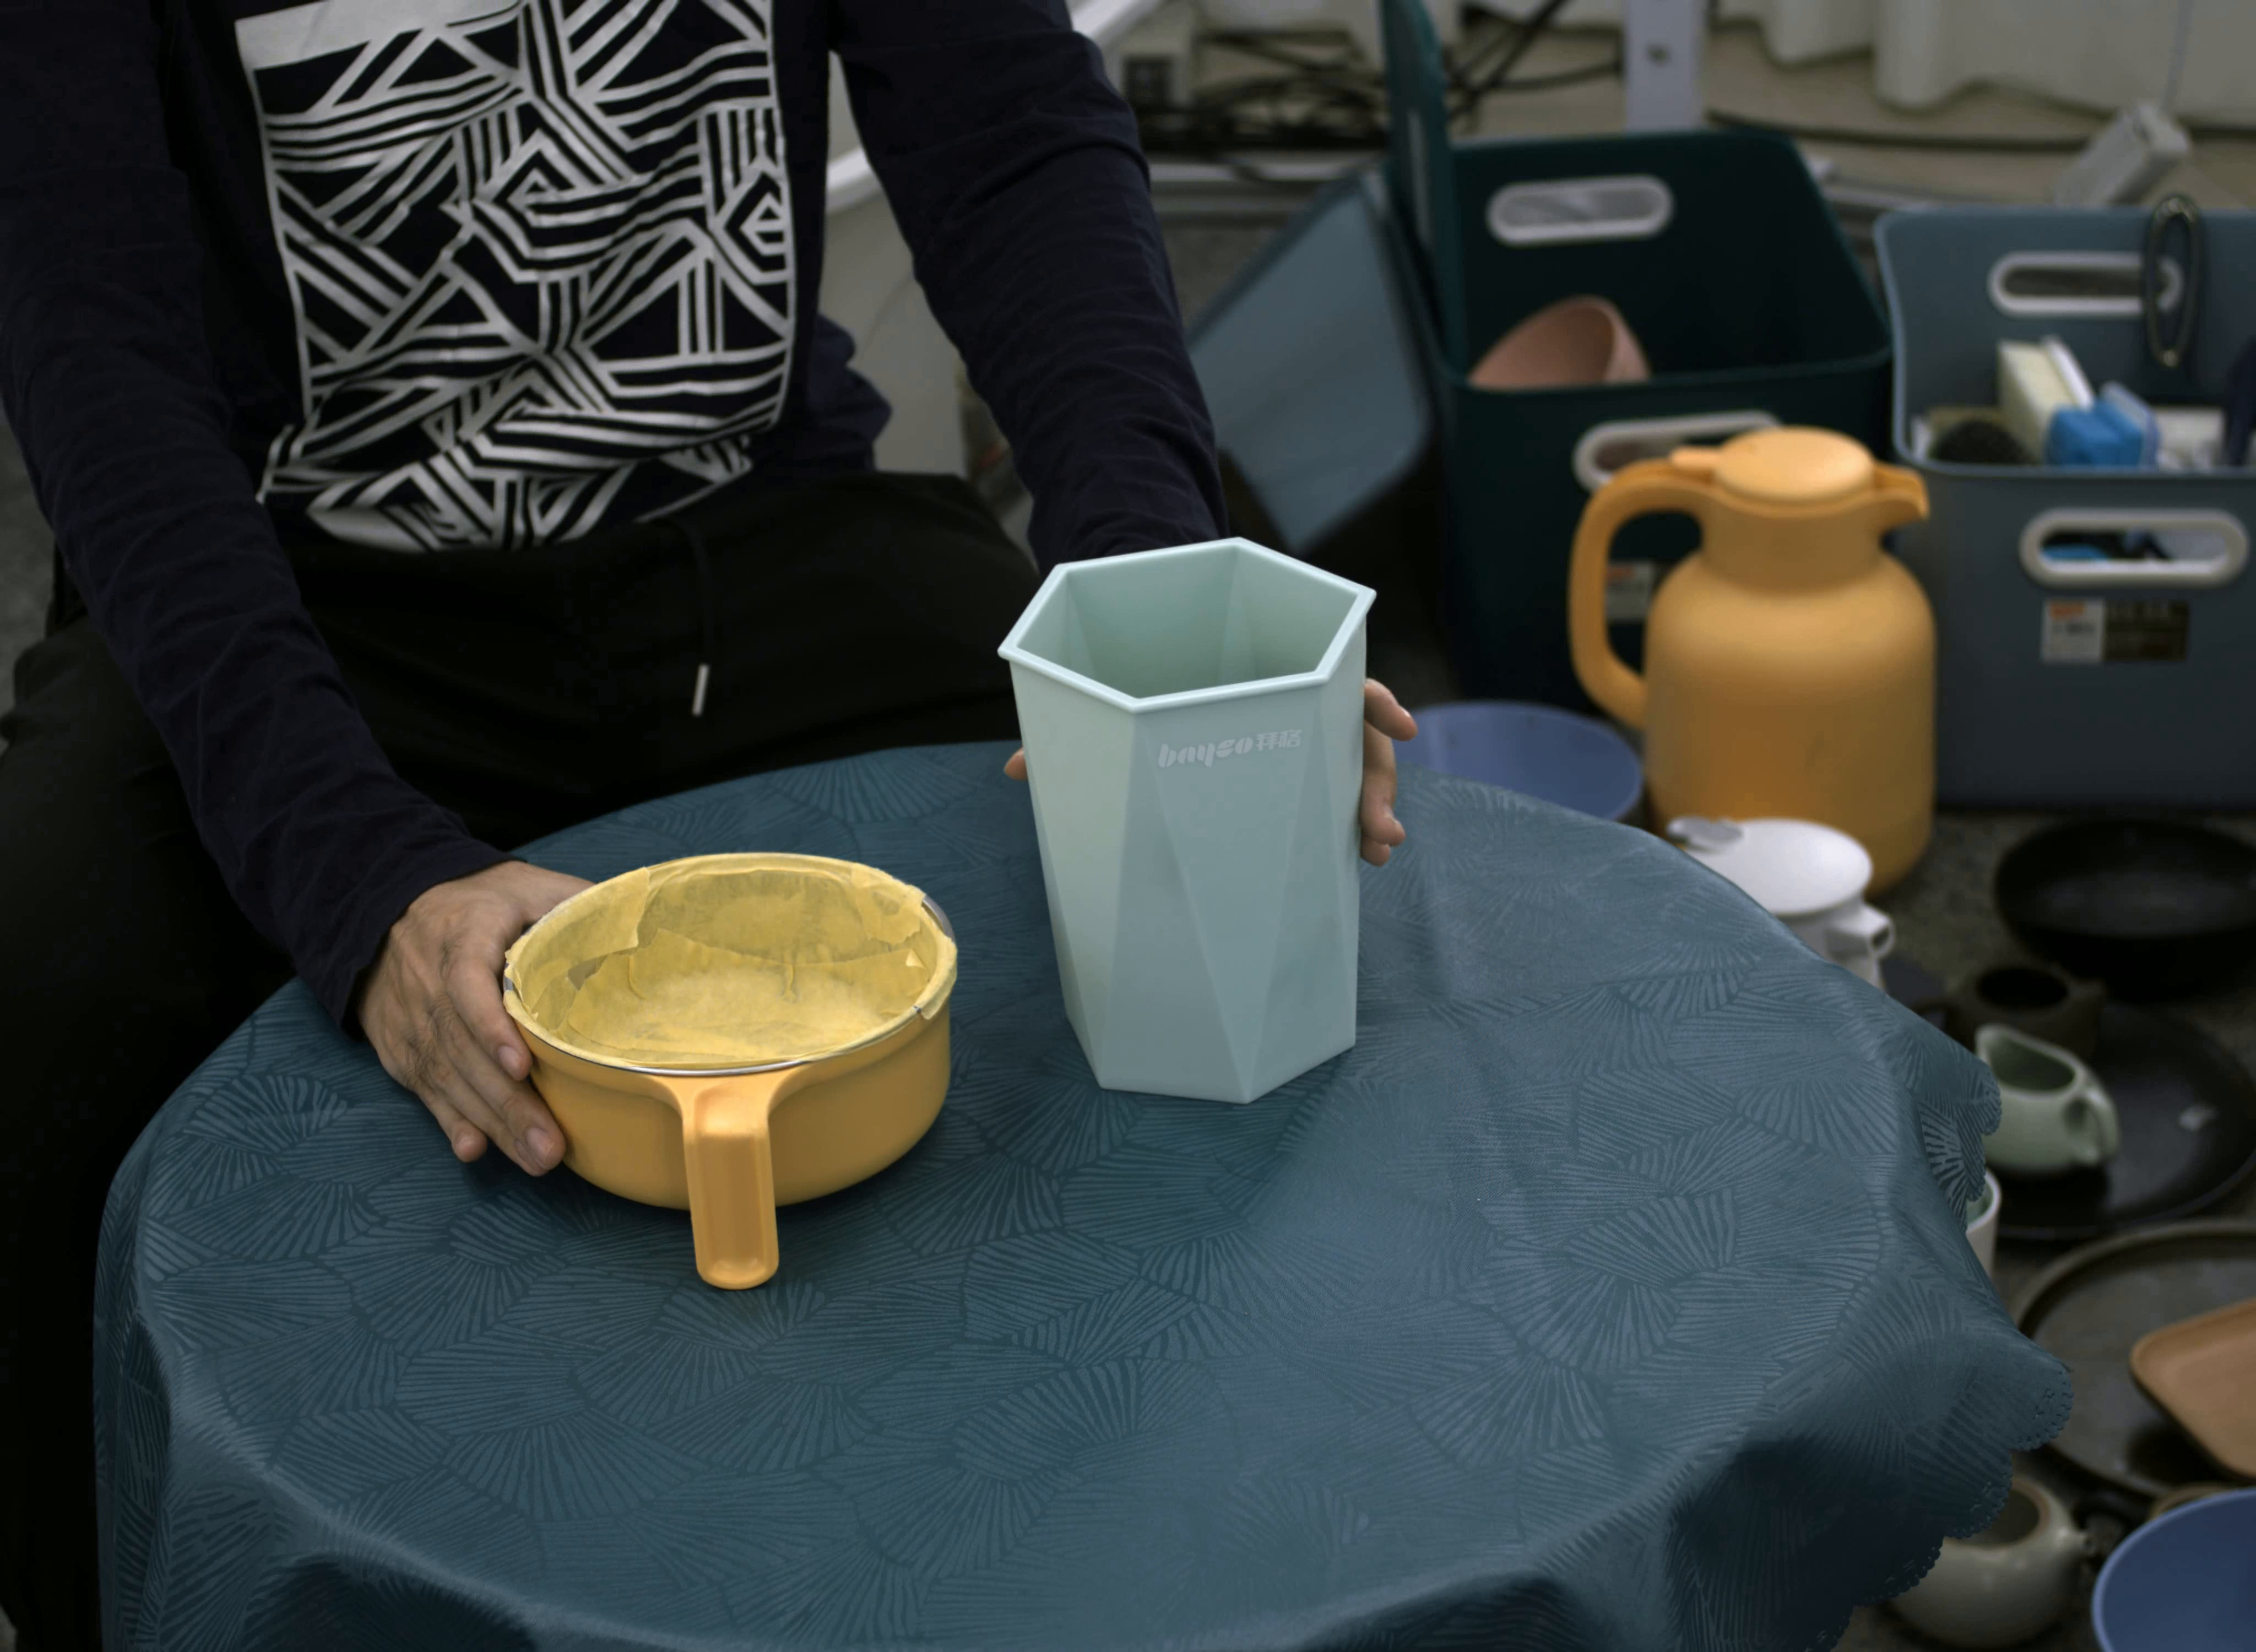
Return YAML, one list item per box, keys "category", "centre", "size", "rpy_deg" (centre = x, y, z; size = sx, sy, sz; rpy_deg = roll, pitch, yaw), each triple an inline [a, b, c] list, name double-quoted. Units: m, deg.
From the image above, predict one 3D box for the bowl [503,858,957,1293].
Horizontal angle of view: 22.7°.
- category: "bowl"
  centre: [-0.131, 0.081, 1.880]
  size: [0.152, 0.073, 0.181]
  rpy_deg: [-5, 25, -4]

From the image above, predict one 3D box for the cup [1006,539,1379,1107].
- category: "cup"
  centre: [0.025, 0.001, 1.915]
  size: [0.131, 0.161, 0.116]
  rpy_deg: [-9, 25, -14]
